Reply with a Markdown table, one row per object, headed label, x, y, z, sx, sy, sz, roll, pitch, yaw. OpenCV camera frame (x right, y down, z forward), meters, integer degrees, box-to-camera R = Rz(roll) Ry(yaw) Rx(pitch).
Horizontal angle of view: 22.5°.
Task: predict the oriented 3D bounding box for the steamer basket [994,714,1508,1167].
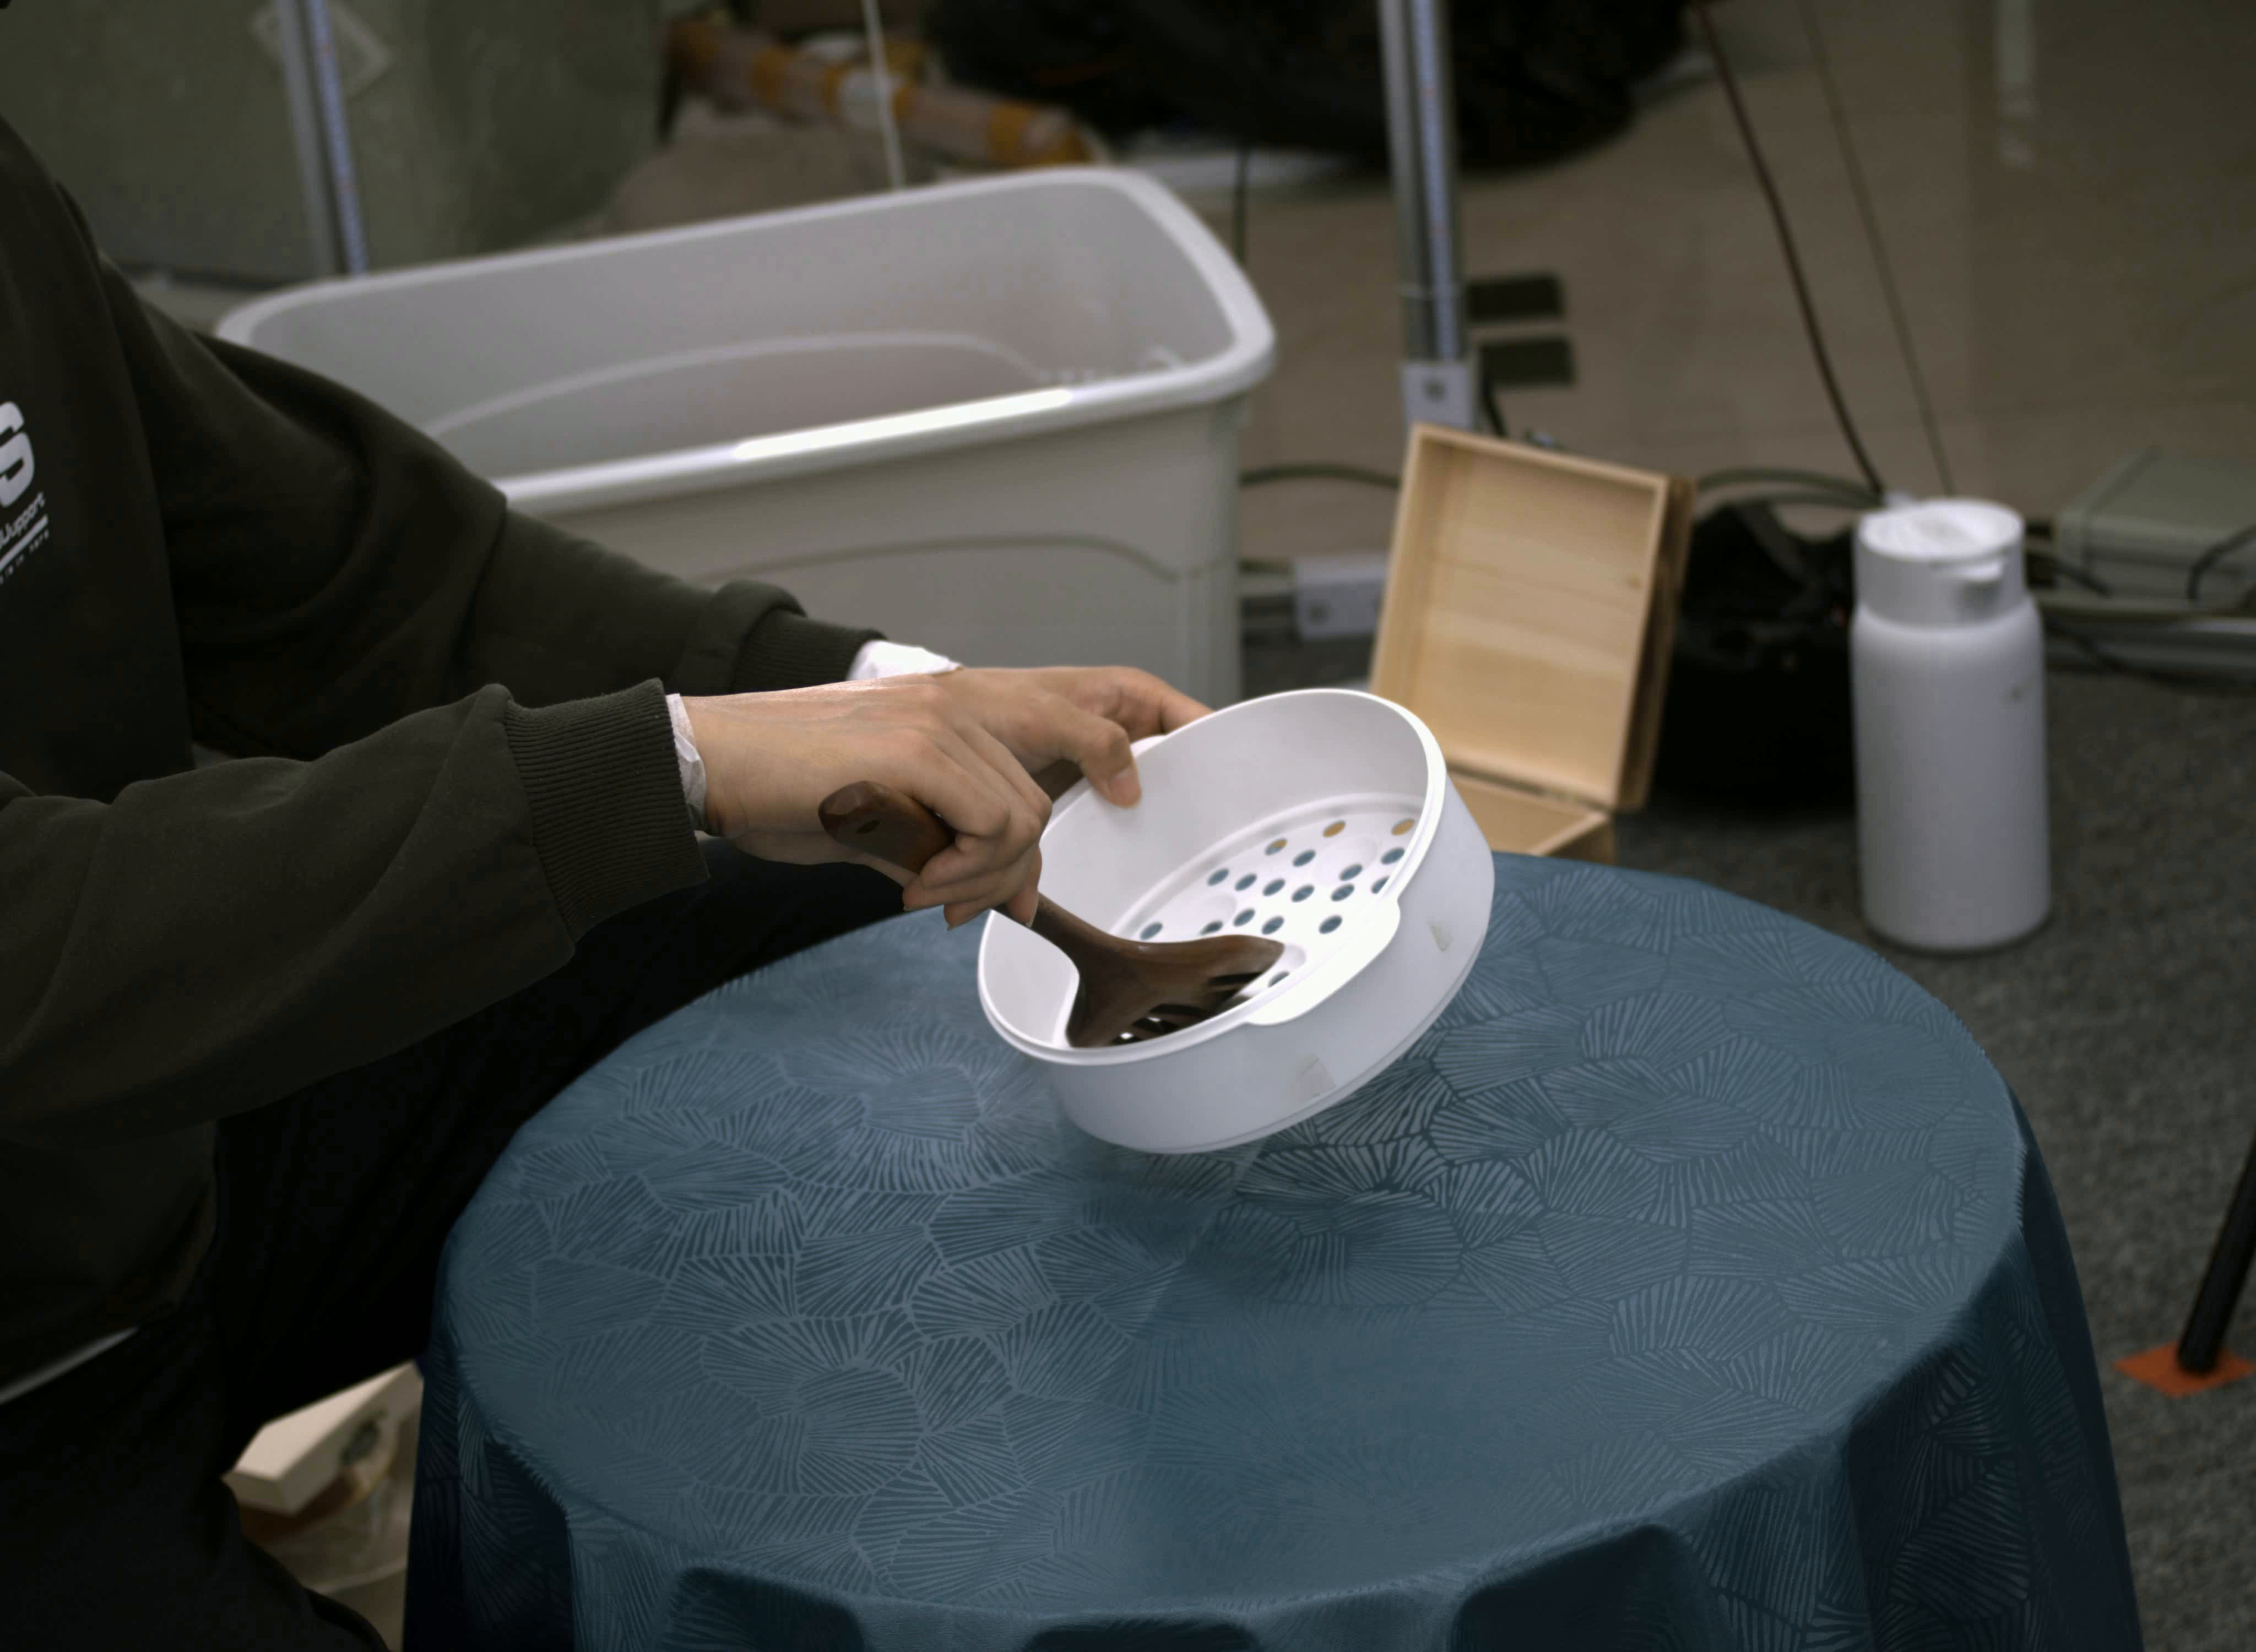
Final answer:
| label | x | y | z | sx | sy | sz | roll | pitch | yaw |
| --- | --- | --- | --- | --- | --- | --- | --- | --- | --- |
| steamer basket | 0.050 | 0.045 | 2.163 | 0.201 | 0.070 | 0.228 | -38 | 26 | -8 |

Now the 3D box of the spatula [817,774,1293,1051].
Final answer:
| label | x | y | z | sx | sy | sz | roll | pitch | yaw |
| --- | --- | --- | --- | --- | --- | --- | --- | --- | --- |
| spatula | -0.028 | 0.033 | 1.995 | 0.086 | 0.388 | 0.023 | -31 | 68 | 10 |
